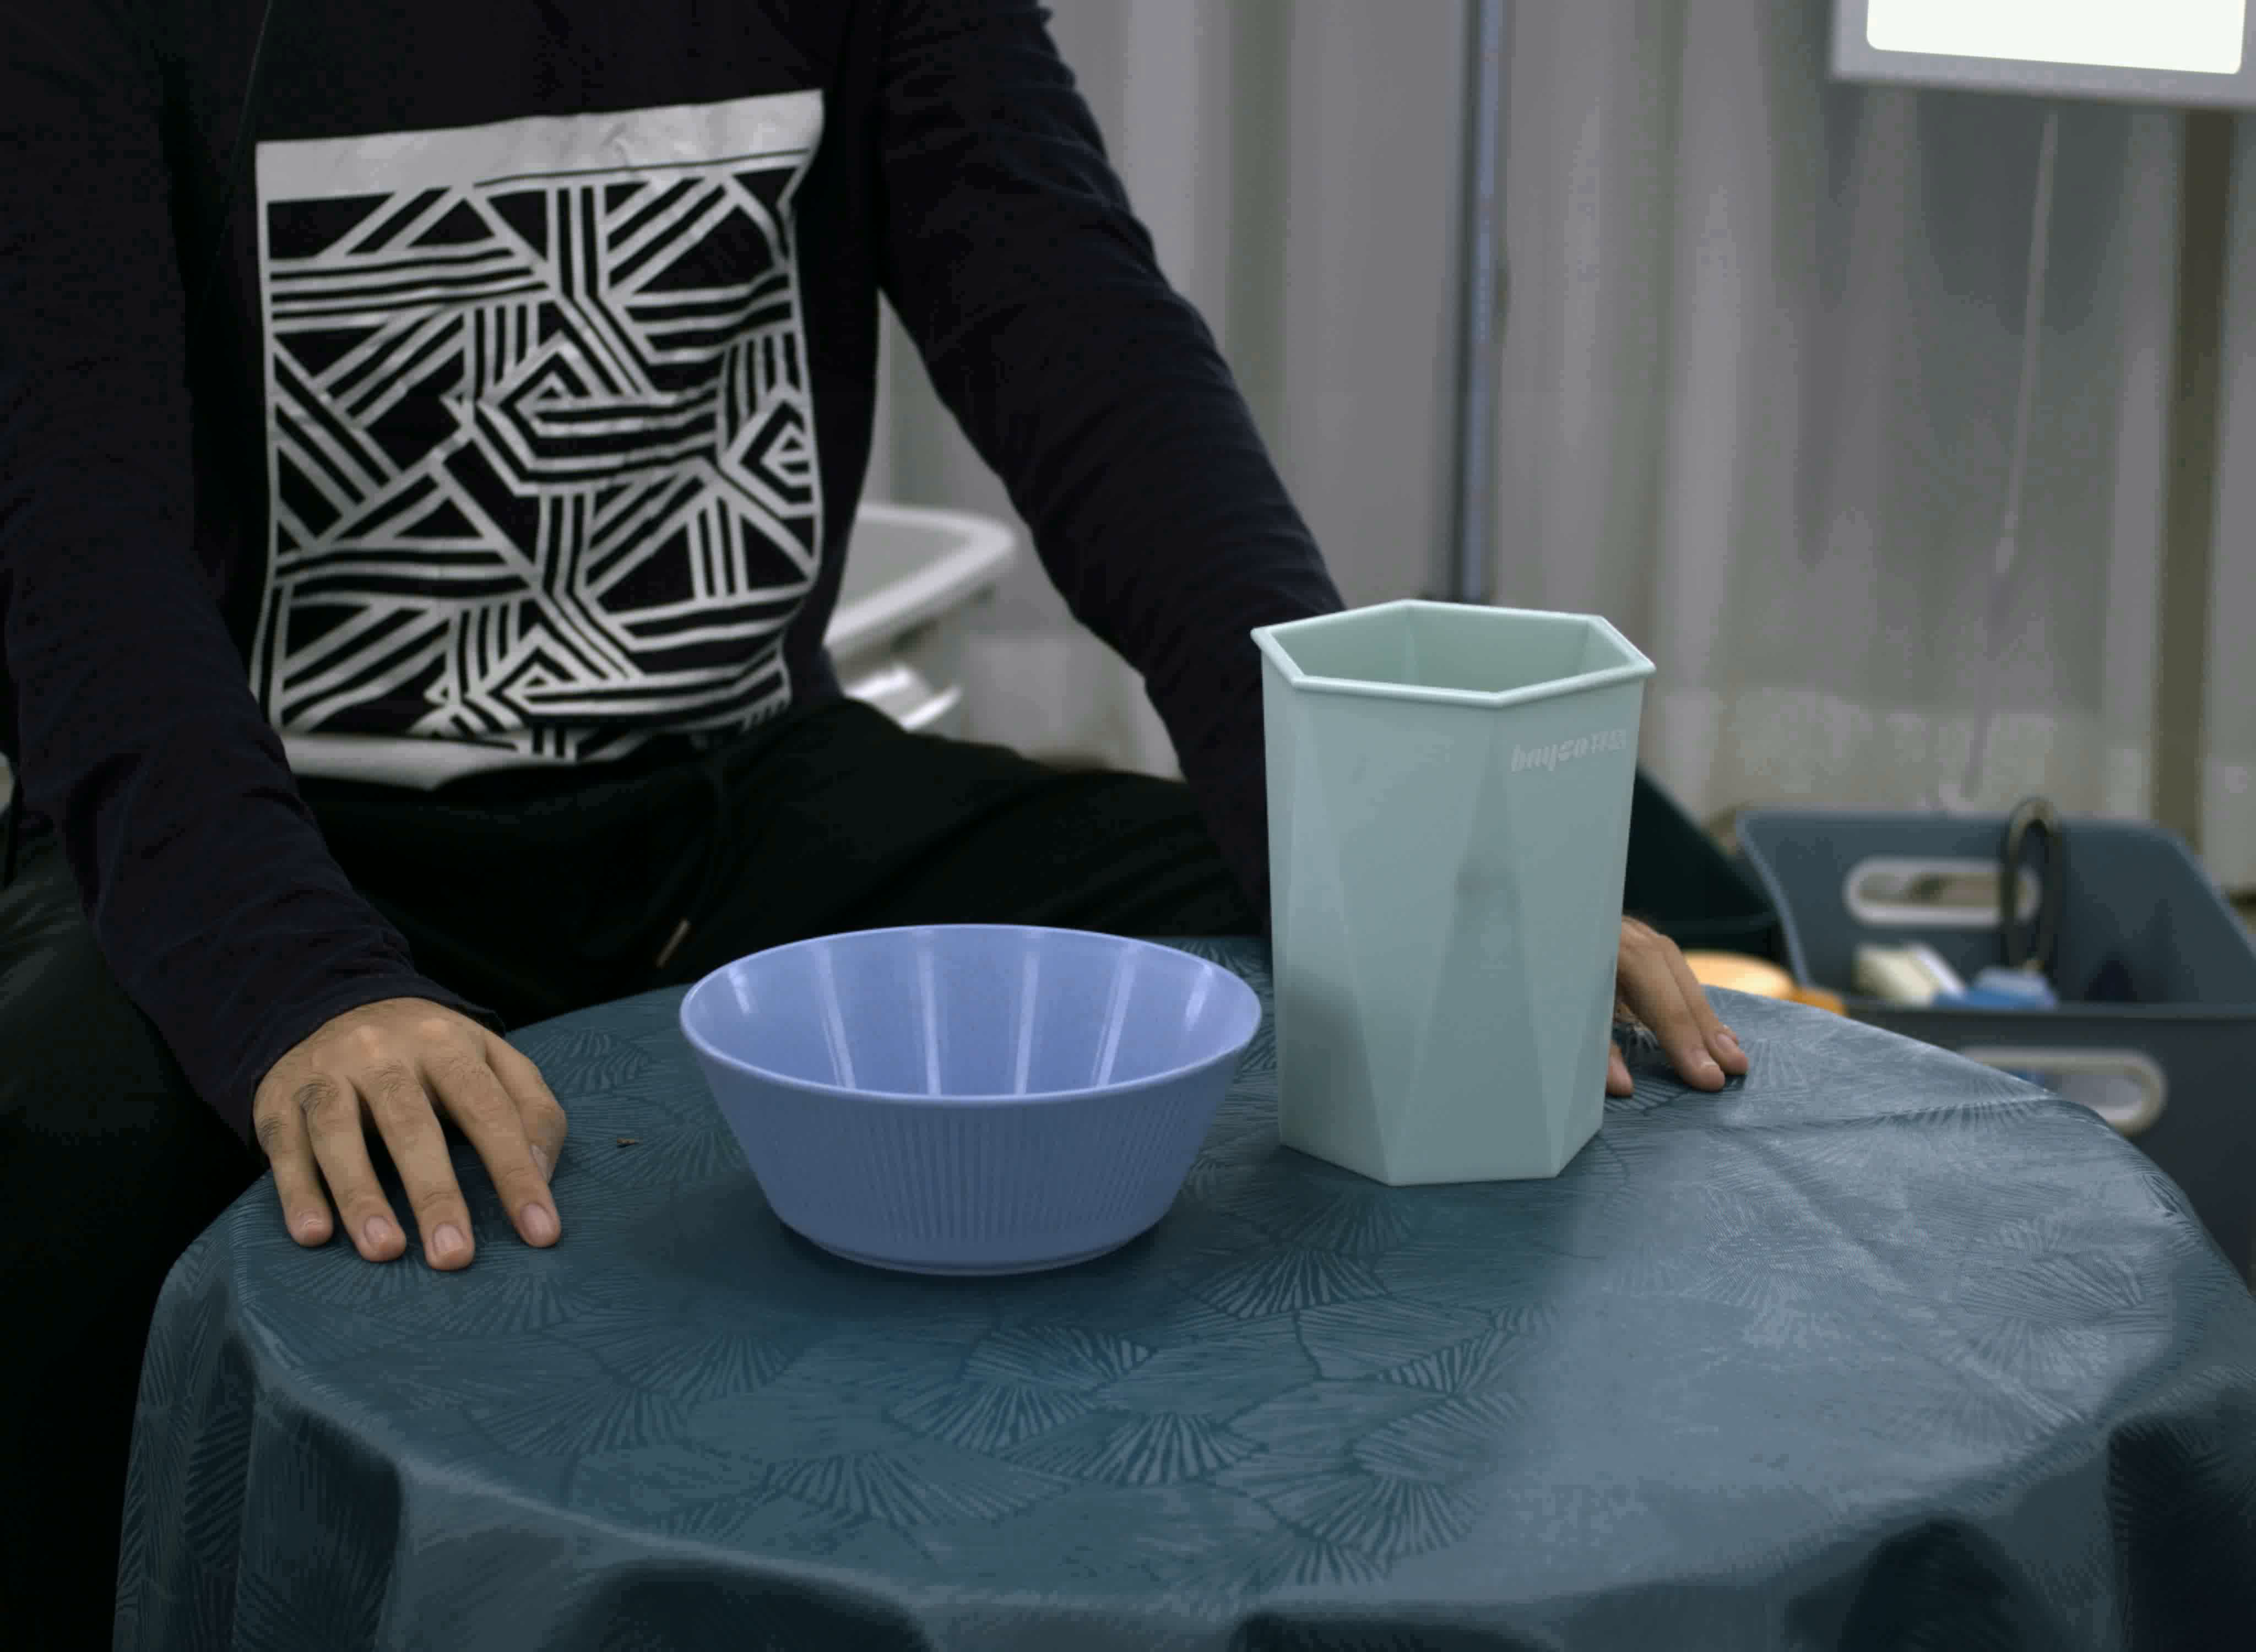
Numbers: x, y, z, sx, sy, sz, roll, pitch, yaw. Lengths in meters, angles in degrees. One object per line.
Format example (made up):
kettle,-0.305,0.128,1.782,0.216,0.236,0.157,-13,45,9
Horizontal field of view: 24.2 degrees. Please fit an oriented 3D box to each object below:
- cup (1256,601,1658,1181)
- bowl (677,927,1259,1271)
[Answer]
cup,0.102,0.020,1.656,0.132,0.164,0.113,-12,19,-40
bowl,-0.048,0.085,1.592,0.175,0.071,0.175,1,15,0
